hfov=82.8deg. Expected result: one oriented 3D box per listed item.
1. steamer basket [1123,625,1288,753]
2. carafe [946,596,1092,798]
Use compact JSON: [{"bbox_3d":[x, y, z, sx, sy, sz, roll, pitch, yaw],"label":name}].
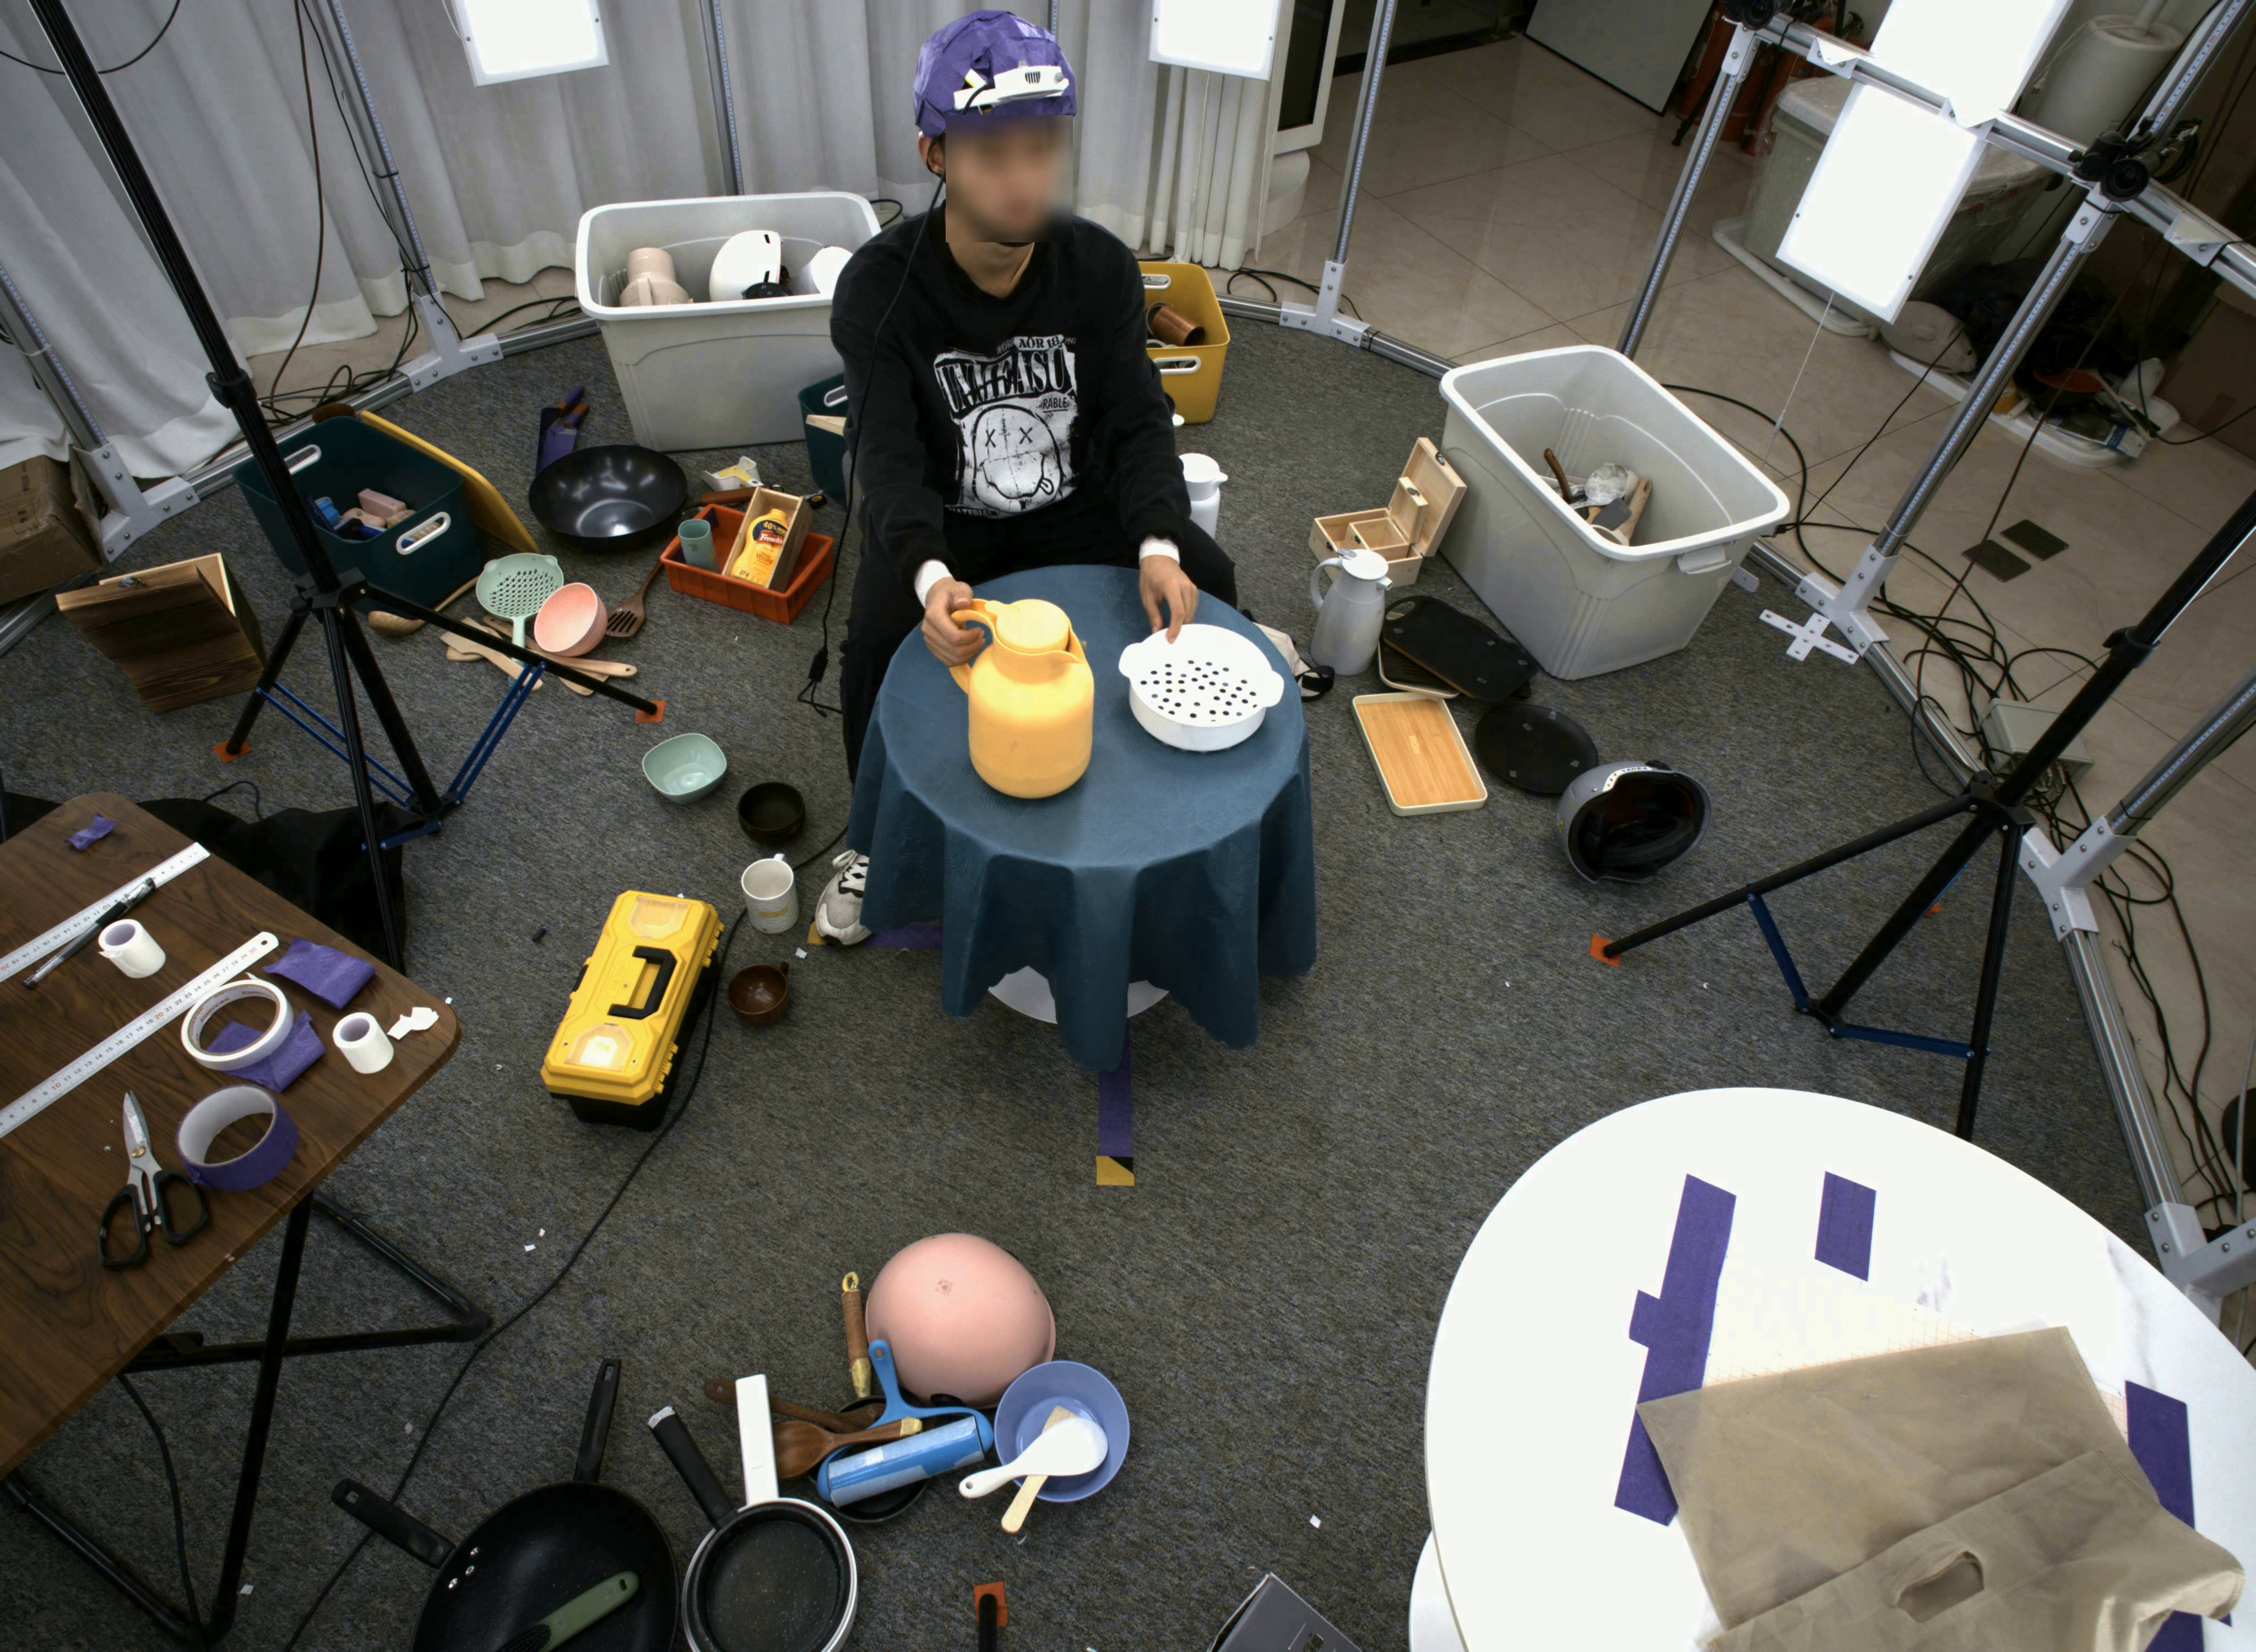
[{"bbox_3d":[0.105,-0.192,1.798,0.231,0.067,0.206,14,49,5],"label":"steamer basket"},{"bbox_3d":[-0.142,-0.177,1.644,0.204,0.254,0.166,29,51,17],"label":"carafe"}]
